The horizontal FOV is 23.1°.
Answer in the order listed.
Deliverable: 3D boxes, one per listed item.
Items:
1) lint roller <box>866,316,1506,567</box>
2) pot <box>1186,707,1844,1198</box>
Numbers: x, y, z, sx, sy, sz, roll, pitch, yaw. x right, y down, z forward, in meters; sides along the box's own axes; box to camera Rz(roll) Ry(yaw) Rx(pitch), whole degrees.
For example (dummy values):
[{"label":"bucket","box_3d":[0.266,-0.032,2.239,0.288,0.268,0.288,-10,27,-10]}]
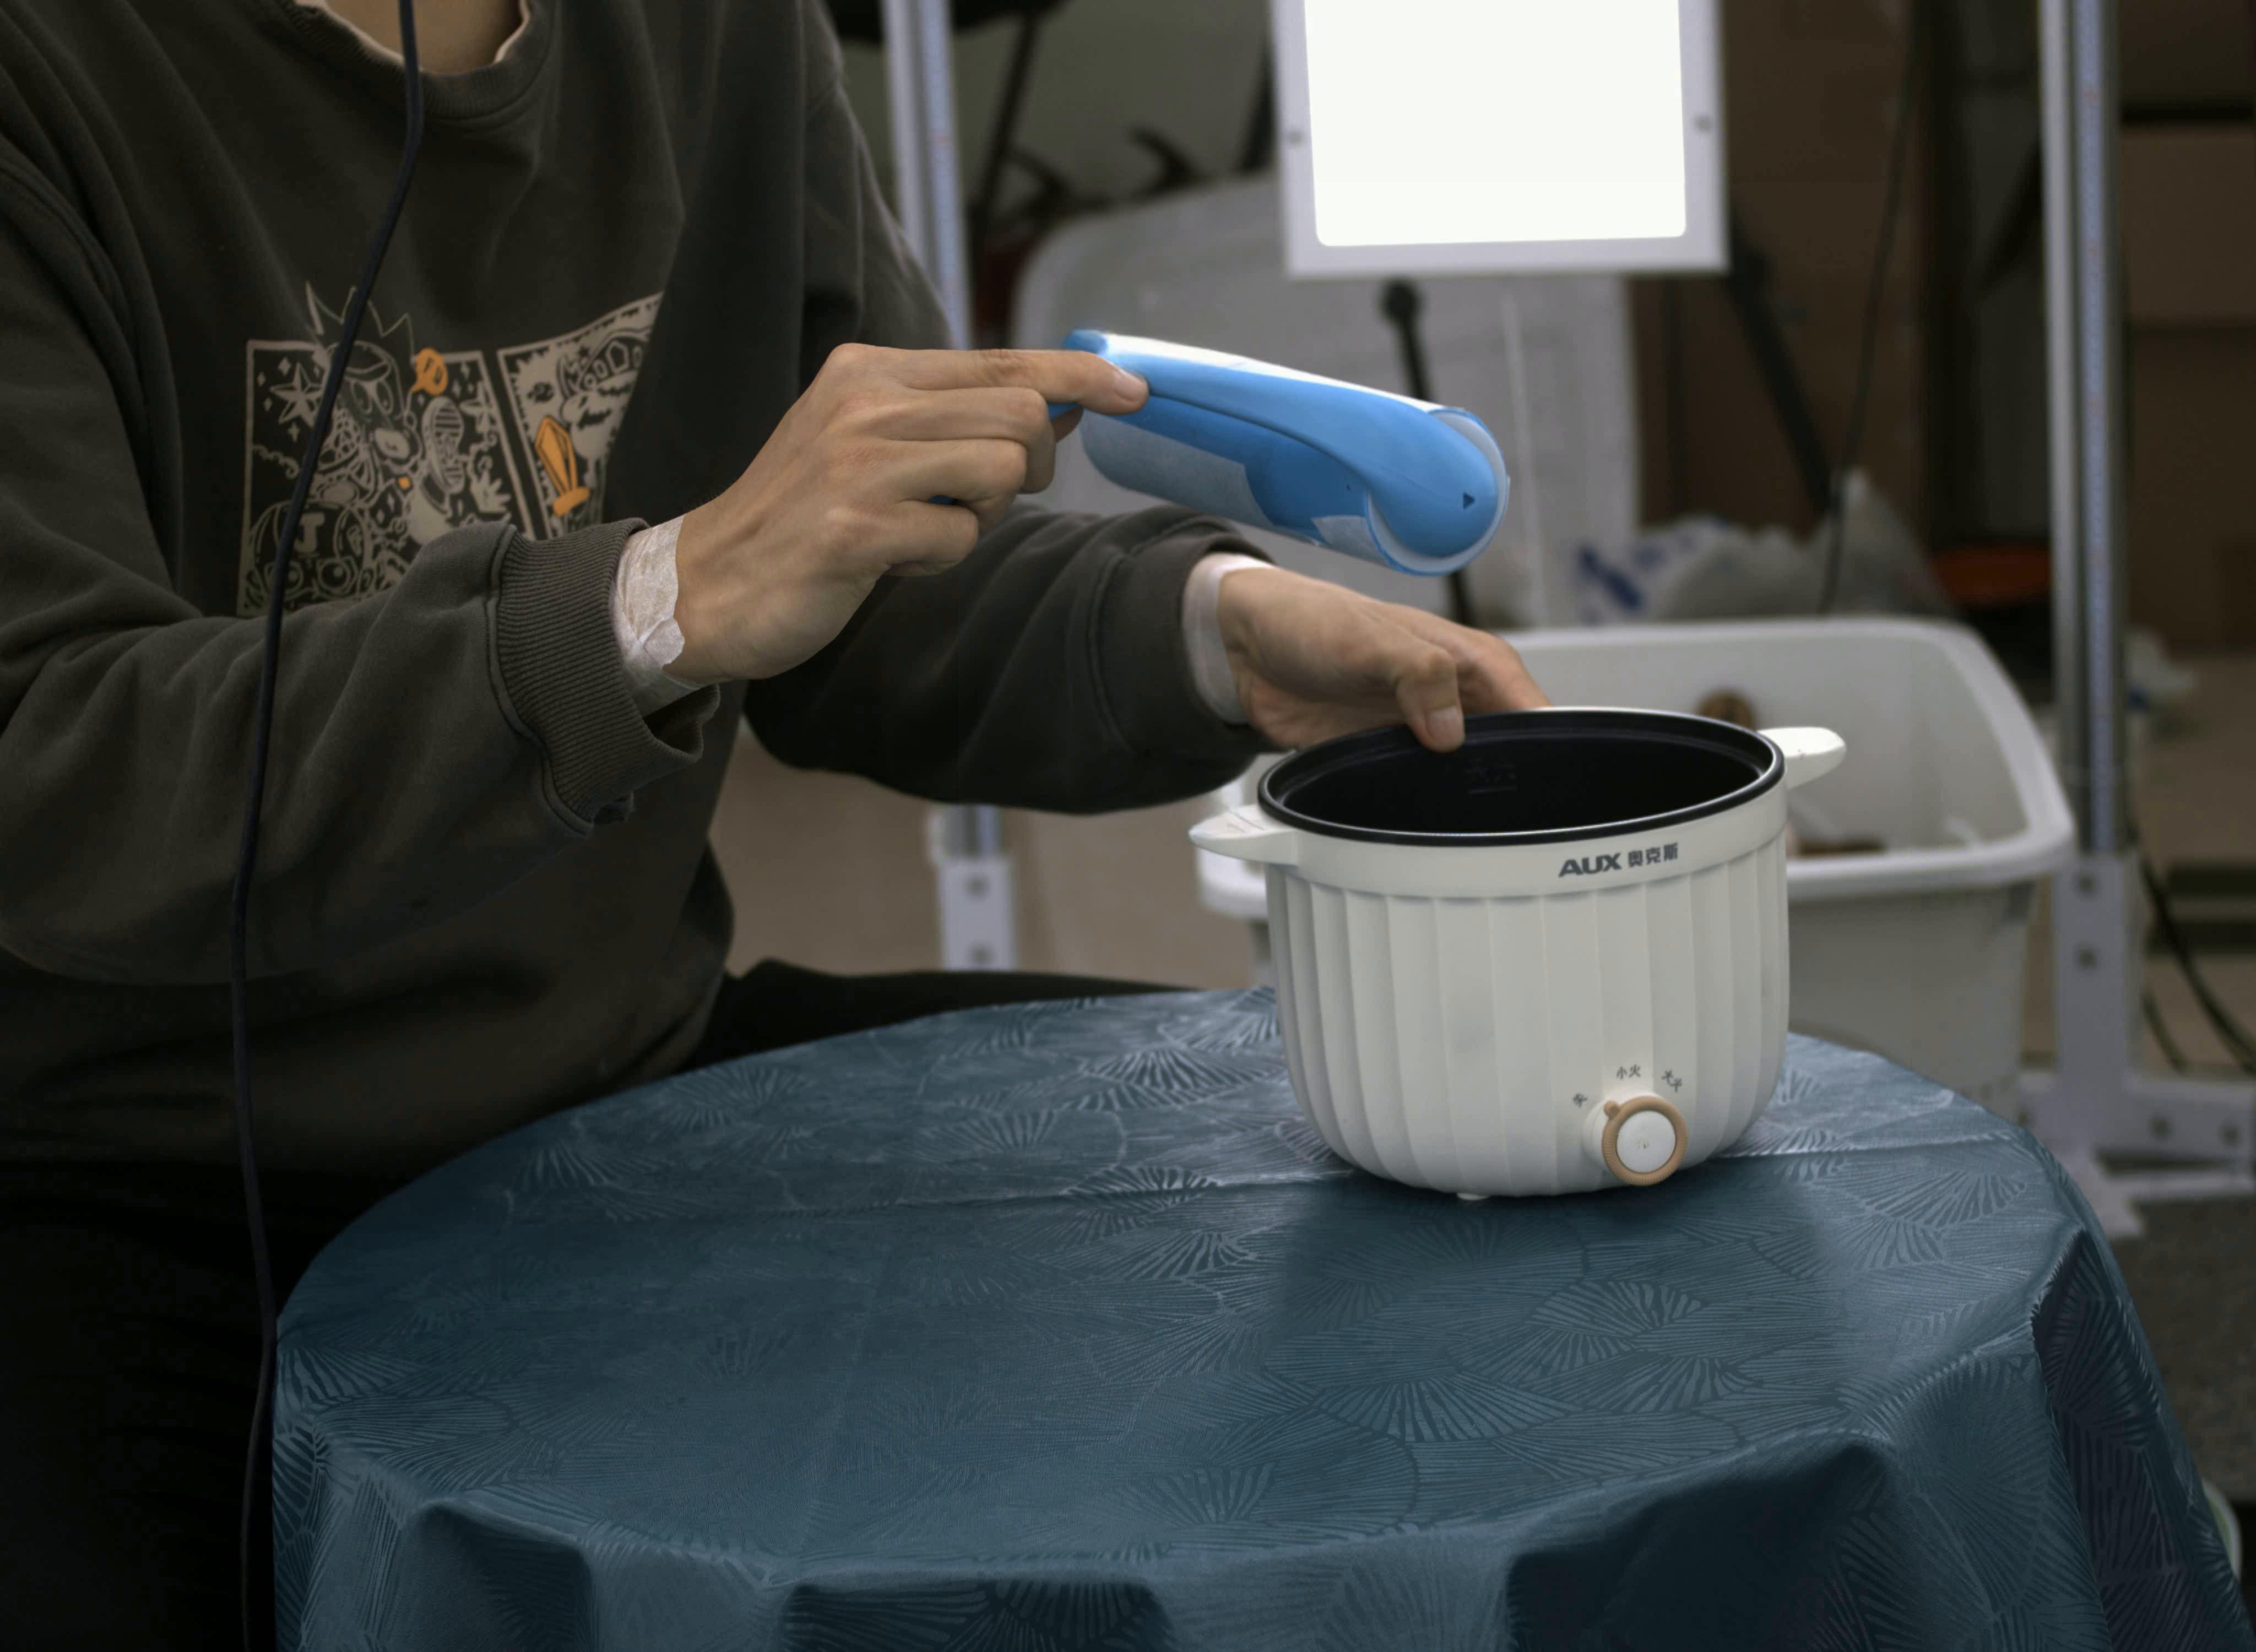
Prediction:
[{"label":"lint roller","box_3d":[0.000,-0.121,1.770,0.176,0.068,0.233,-6,15,-28]},{"label":"pot","box_3d":[0.142,0.045,1.885,0.237,0.143,0.192,-10,11,-14]}]
